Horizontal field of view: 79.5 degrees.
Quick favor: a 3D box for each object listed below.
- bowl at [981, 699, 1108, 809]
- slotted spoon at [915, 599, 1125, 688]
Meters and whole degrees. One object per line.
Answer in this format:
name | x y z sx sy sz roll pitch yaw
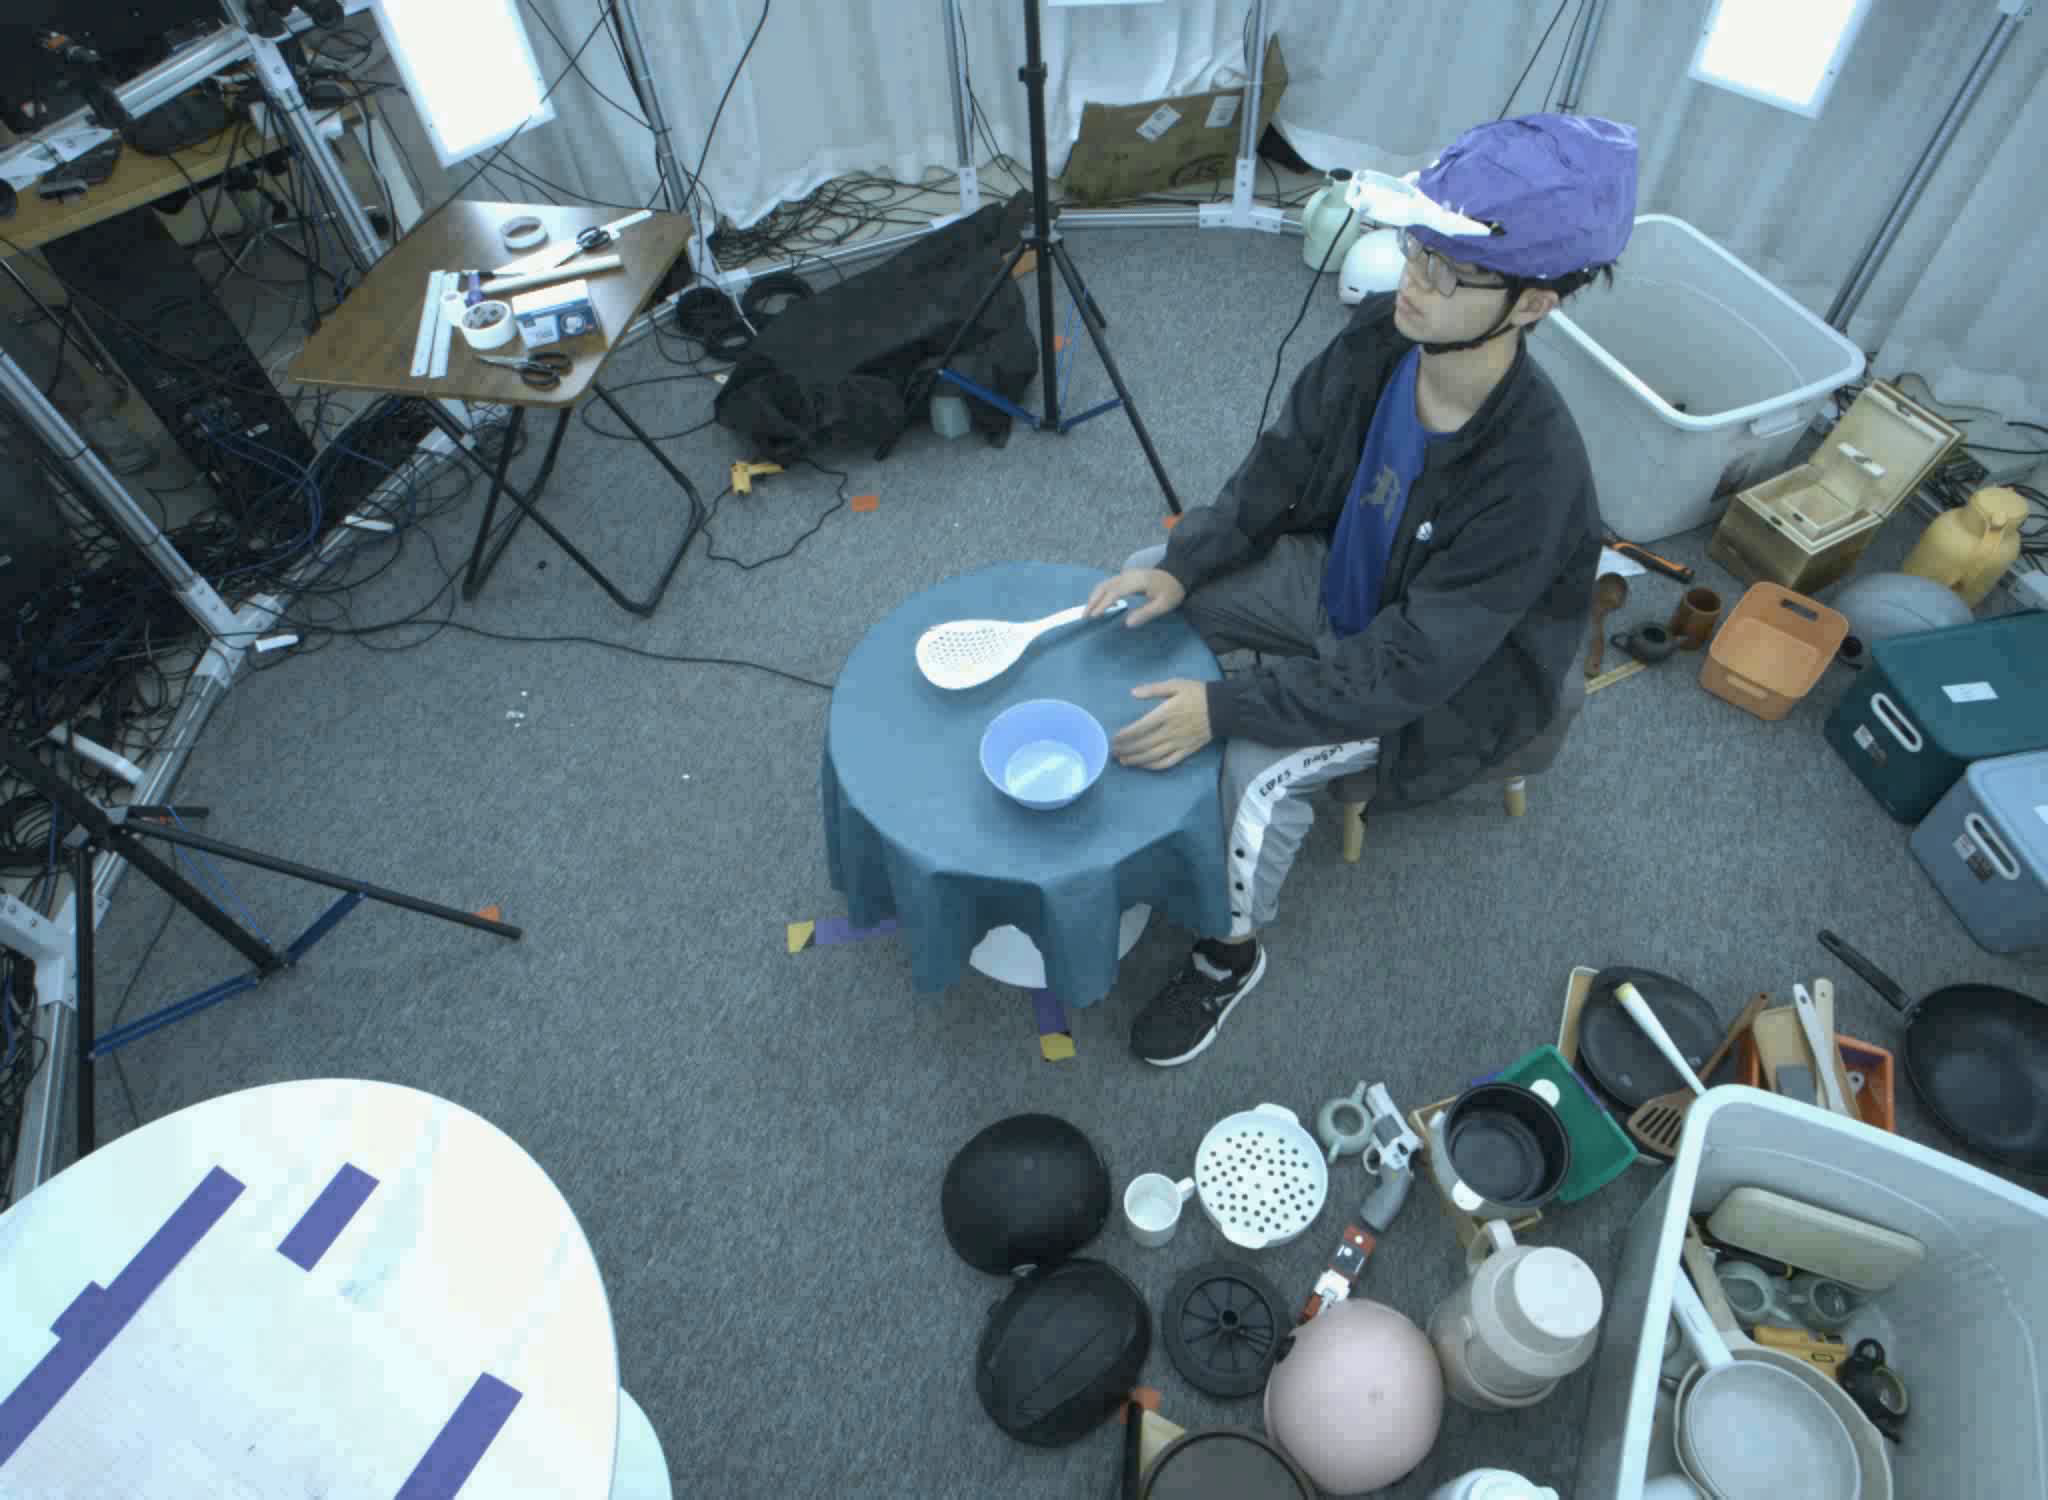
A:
bowl | 0.030 0.016 1.722 0.176 0.071 0.174 0 55 2
slotted spoon | 0.004 -0.176 1.878 0.350 0.051 0.134 -24 53 -15
